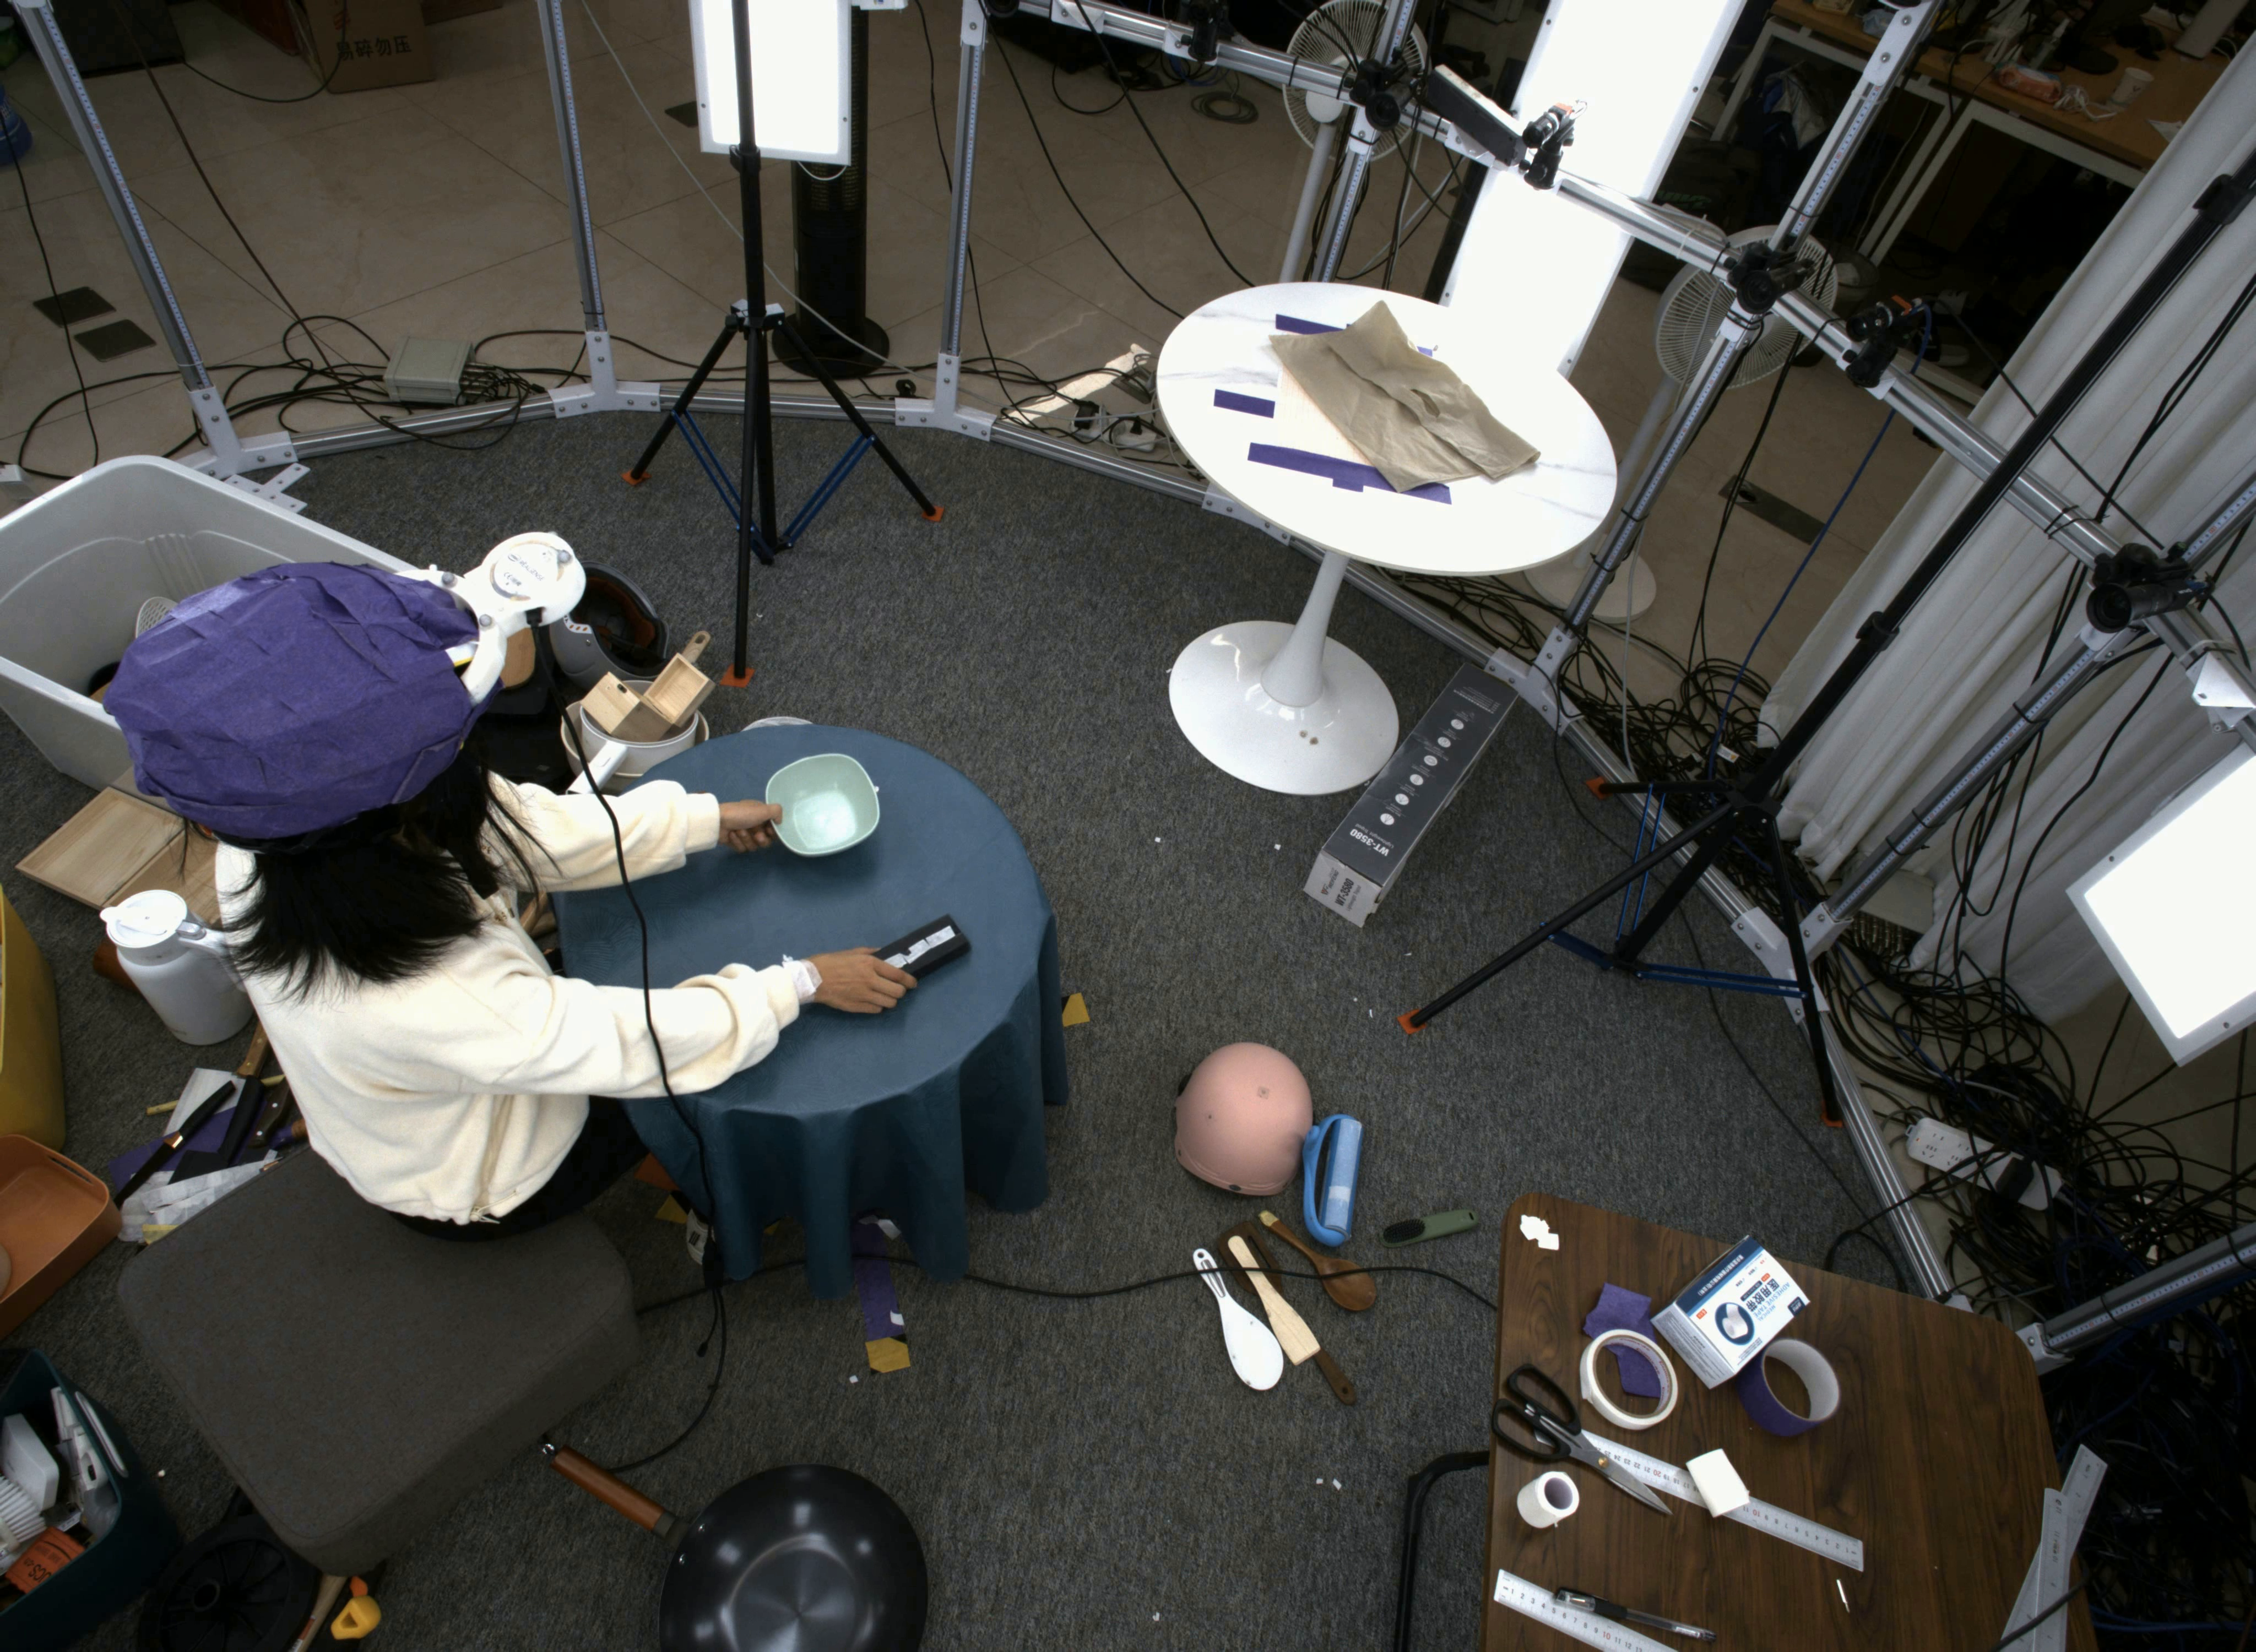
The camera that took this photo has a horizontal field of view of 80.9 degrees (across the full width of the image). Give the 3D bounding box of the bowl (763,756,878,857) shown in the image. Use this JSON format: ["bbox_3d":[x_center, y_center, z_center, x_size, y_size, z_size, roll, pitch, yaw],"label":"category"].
[{"bbox_3d":[-0.400,-0.016,1.688,0.151,0.059,0.149,7,59,-10],"label":"bowl"}]

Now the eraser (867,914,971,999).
[{"bbox_3d":[-0.260,0.159,1.625,0.126,0.031,0.052,-32,68,-29],"label":"eraser"}]
